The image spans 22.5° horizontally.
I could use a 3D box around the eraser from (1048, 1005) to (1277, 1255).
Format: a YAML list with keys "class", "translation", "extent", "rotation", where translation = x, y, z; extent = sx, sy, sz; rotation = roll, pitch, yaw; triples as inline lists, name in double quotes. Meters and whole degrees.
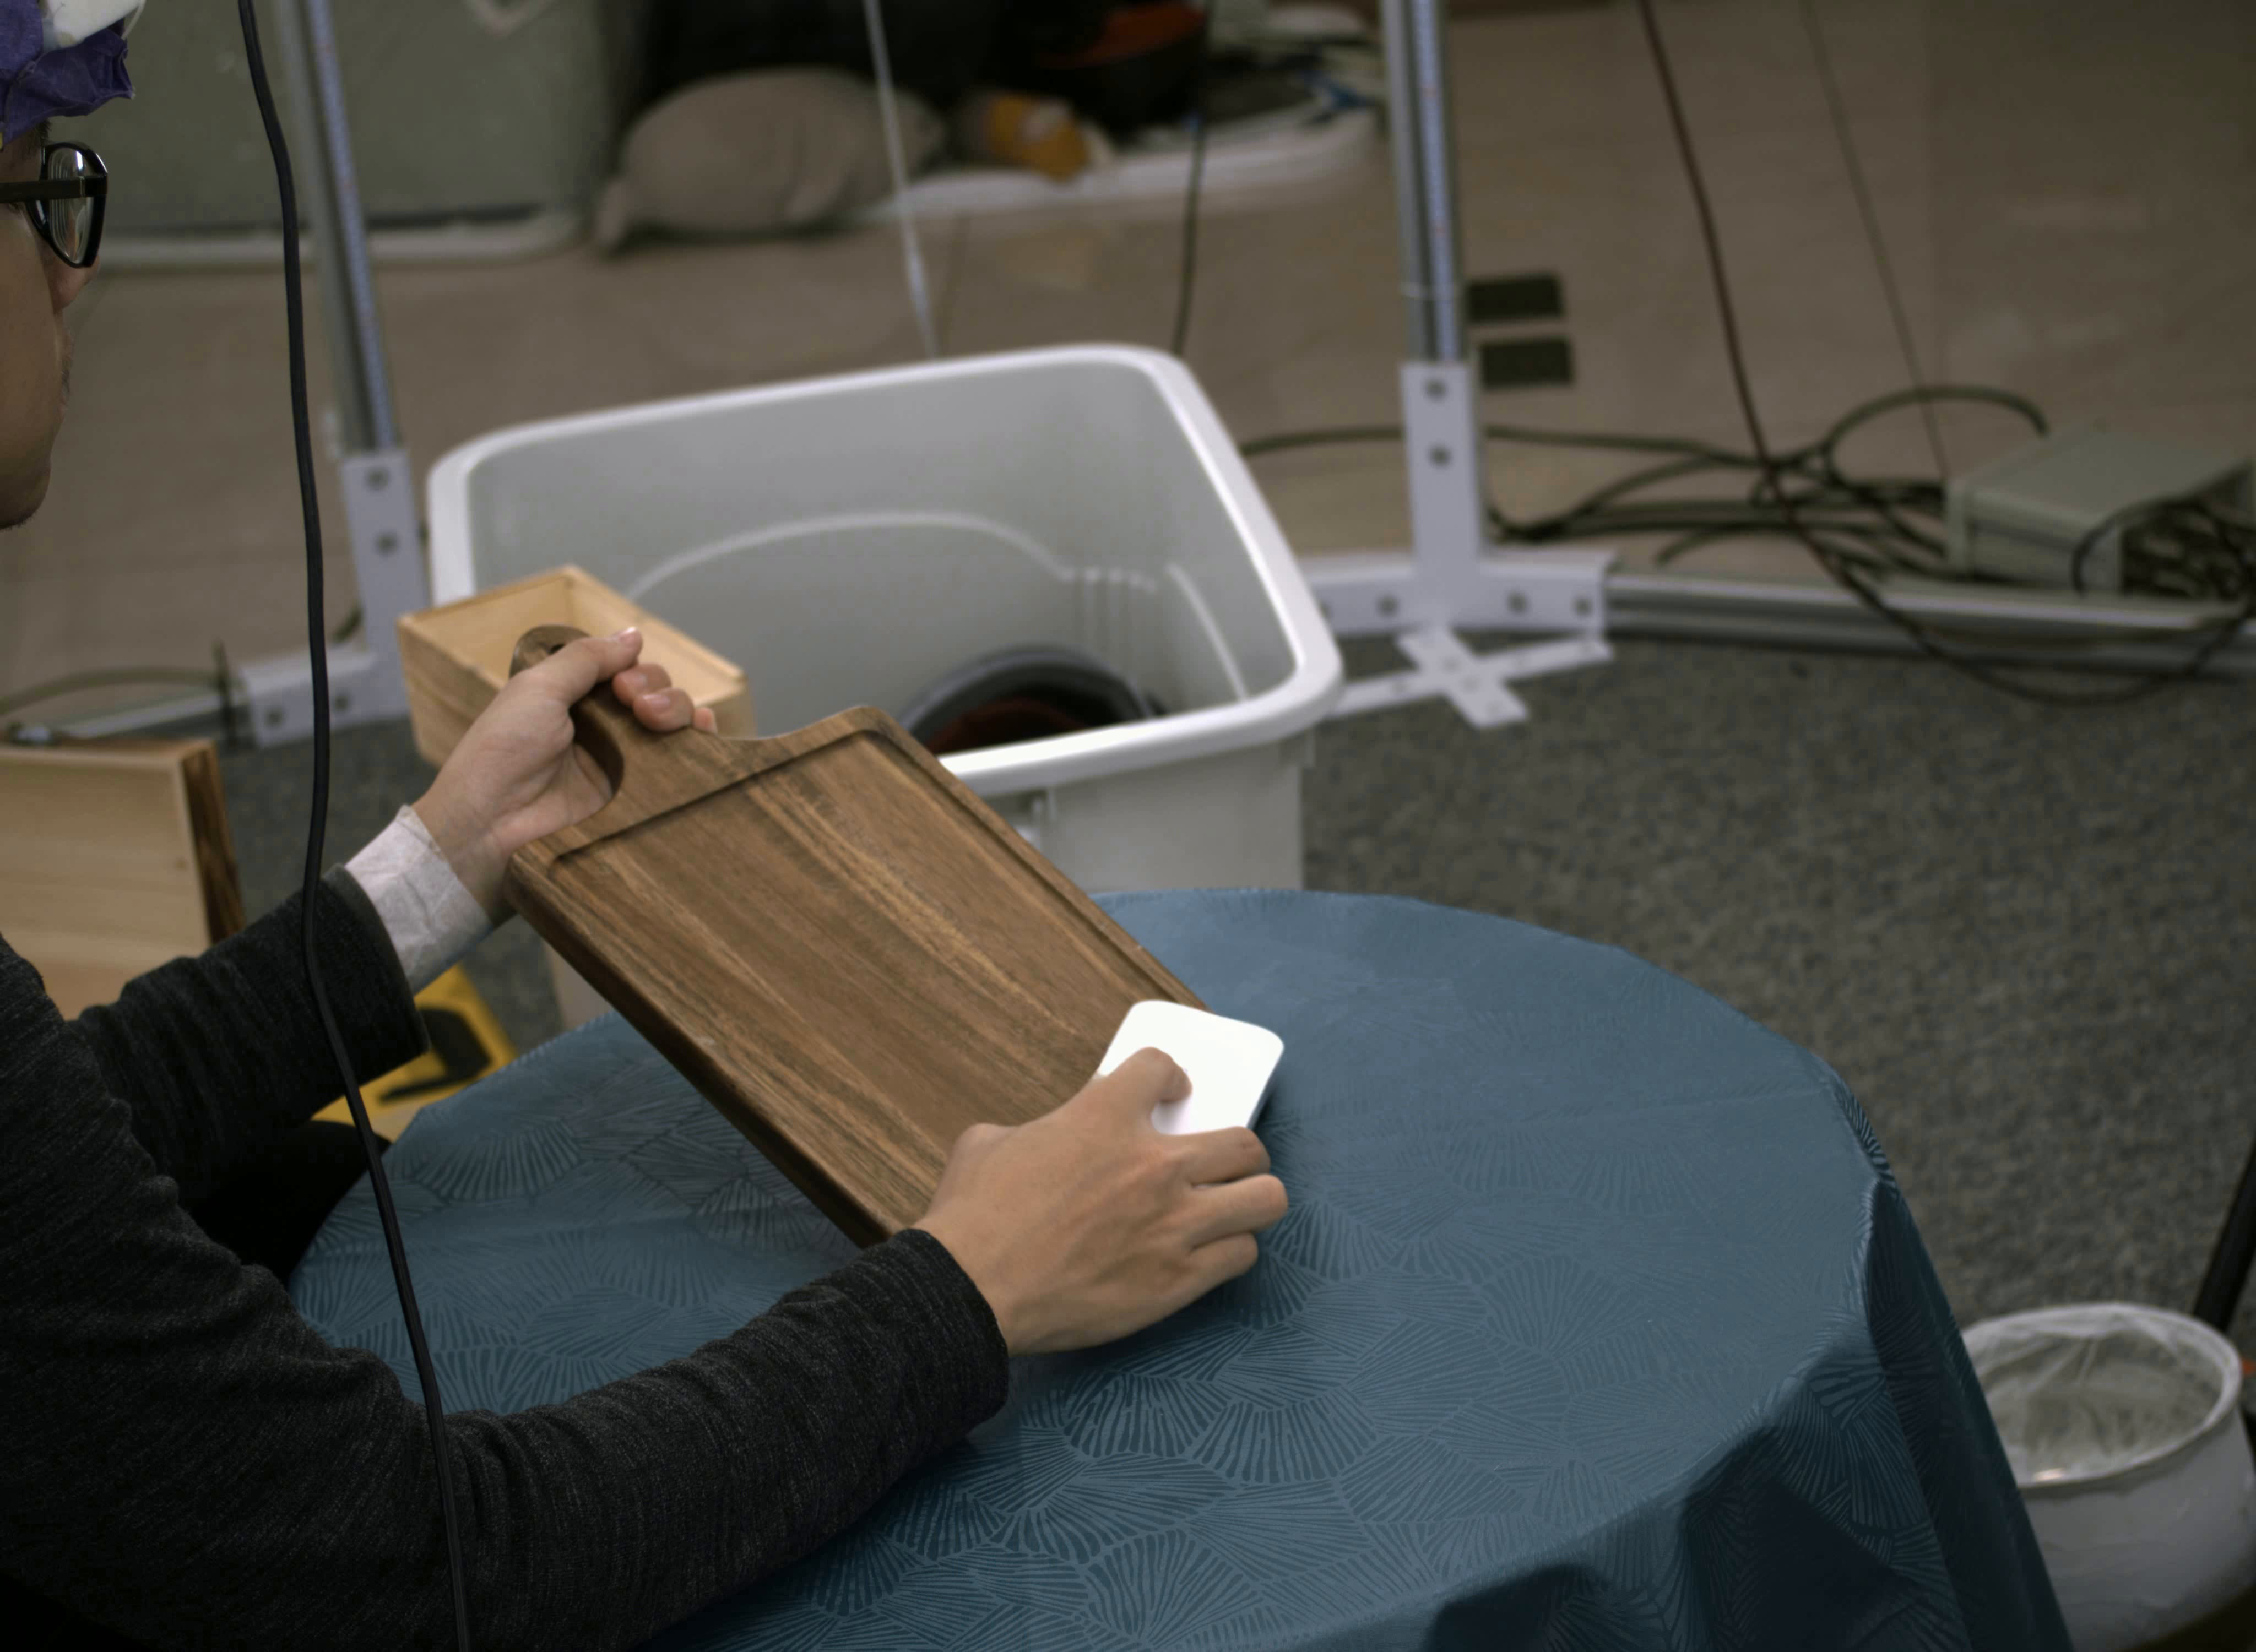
- class: "eraser"
  translation: [0.012, 0.110, 2.124]
  extent: [0.063, 0.035, 0.129]
  rotation: [17, 33, 9]

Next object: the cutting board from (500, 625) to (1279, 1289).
- class: "cutting board"
  translation: [-0.124, 0.031, 2.206]
  extent: [0.199, 0.023, 0.348]
  rotation: [-26, 57, -39]
